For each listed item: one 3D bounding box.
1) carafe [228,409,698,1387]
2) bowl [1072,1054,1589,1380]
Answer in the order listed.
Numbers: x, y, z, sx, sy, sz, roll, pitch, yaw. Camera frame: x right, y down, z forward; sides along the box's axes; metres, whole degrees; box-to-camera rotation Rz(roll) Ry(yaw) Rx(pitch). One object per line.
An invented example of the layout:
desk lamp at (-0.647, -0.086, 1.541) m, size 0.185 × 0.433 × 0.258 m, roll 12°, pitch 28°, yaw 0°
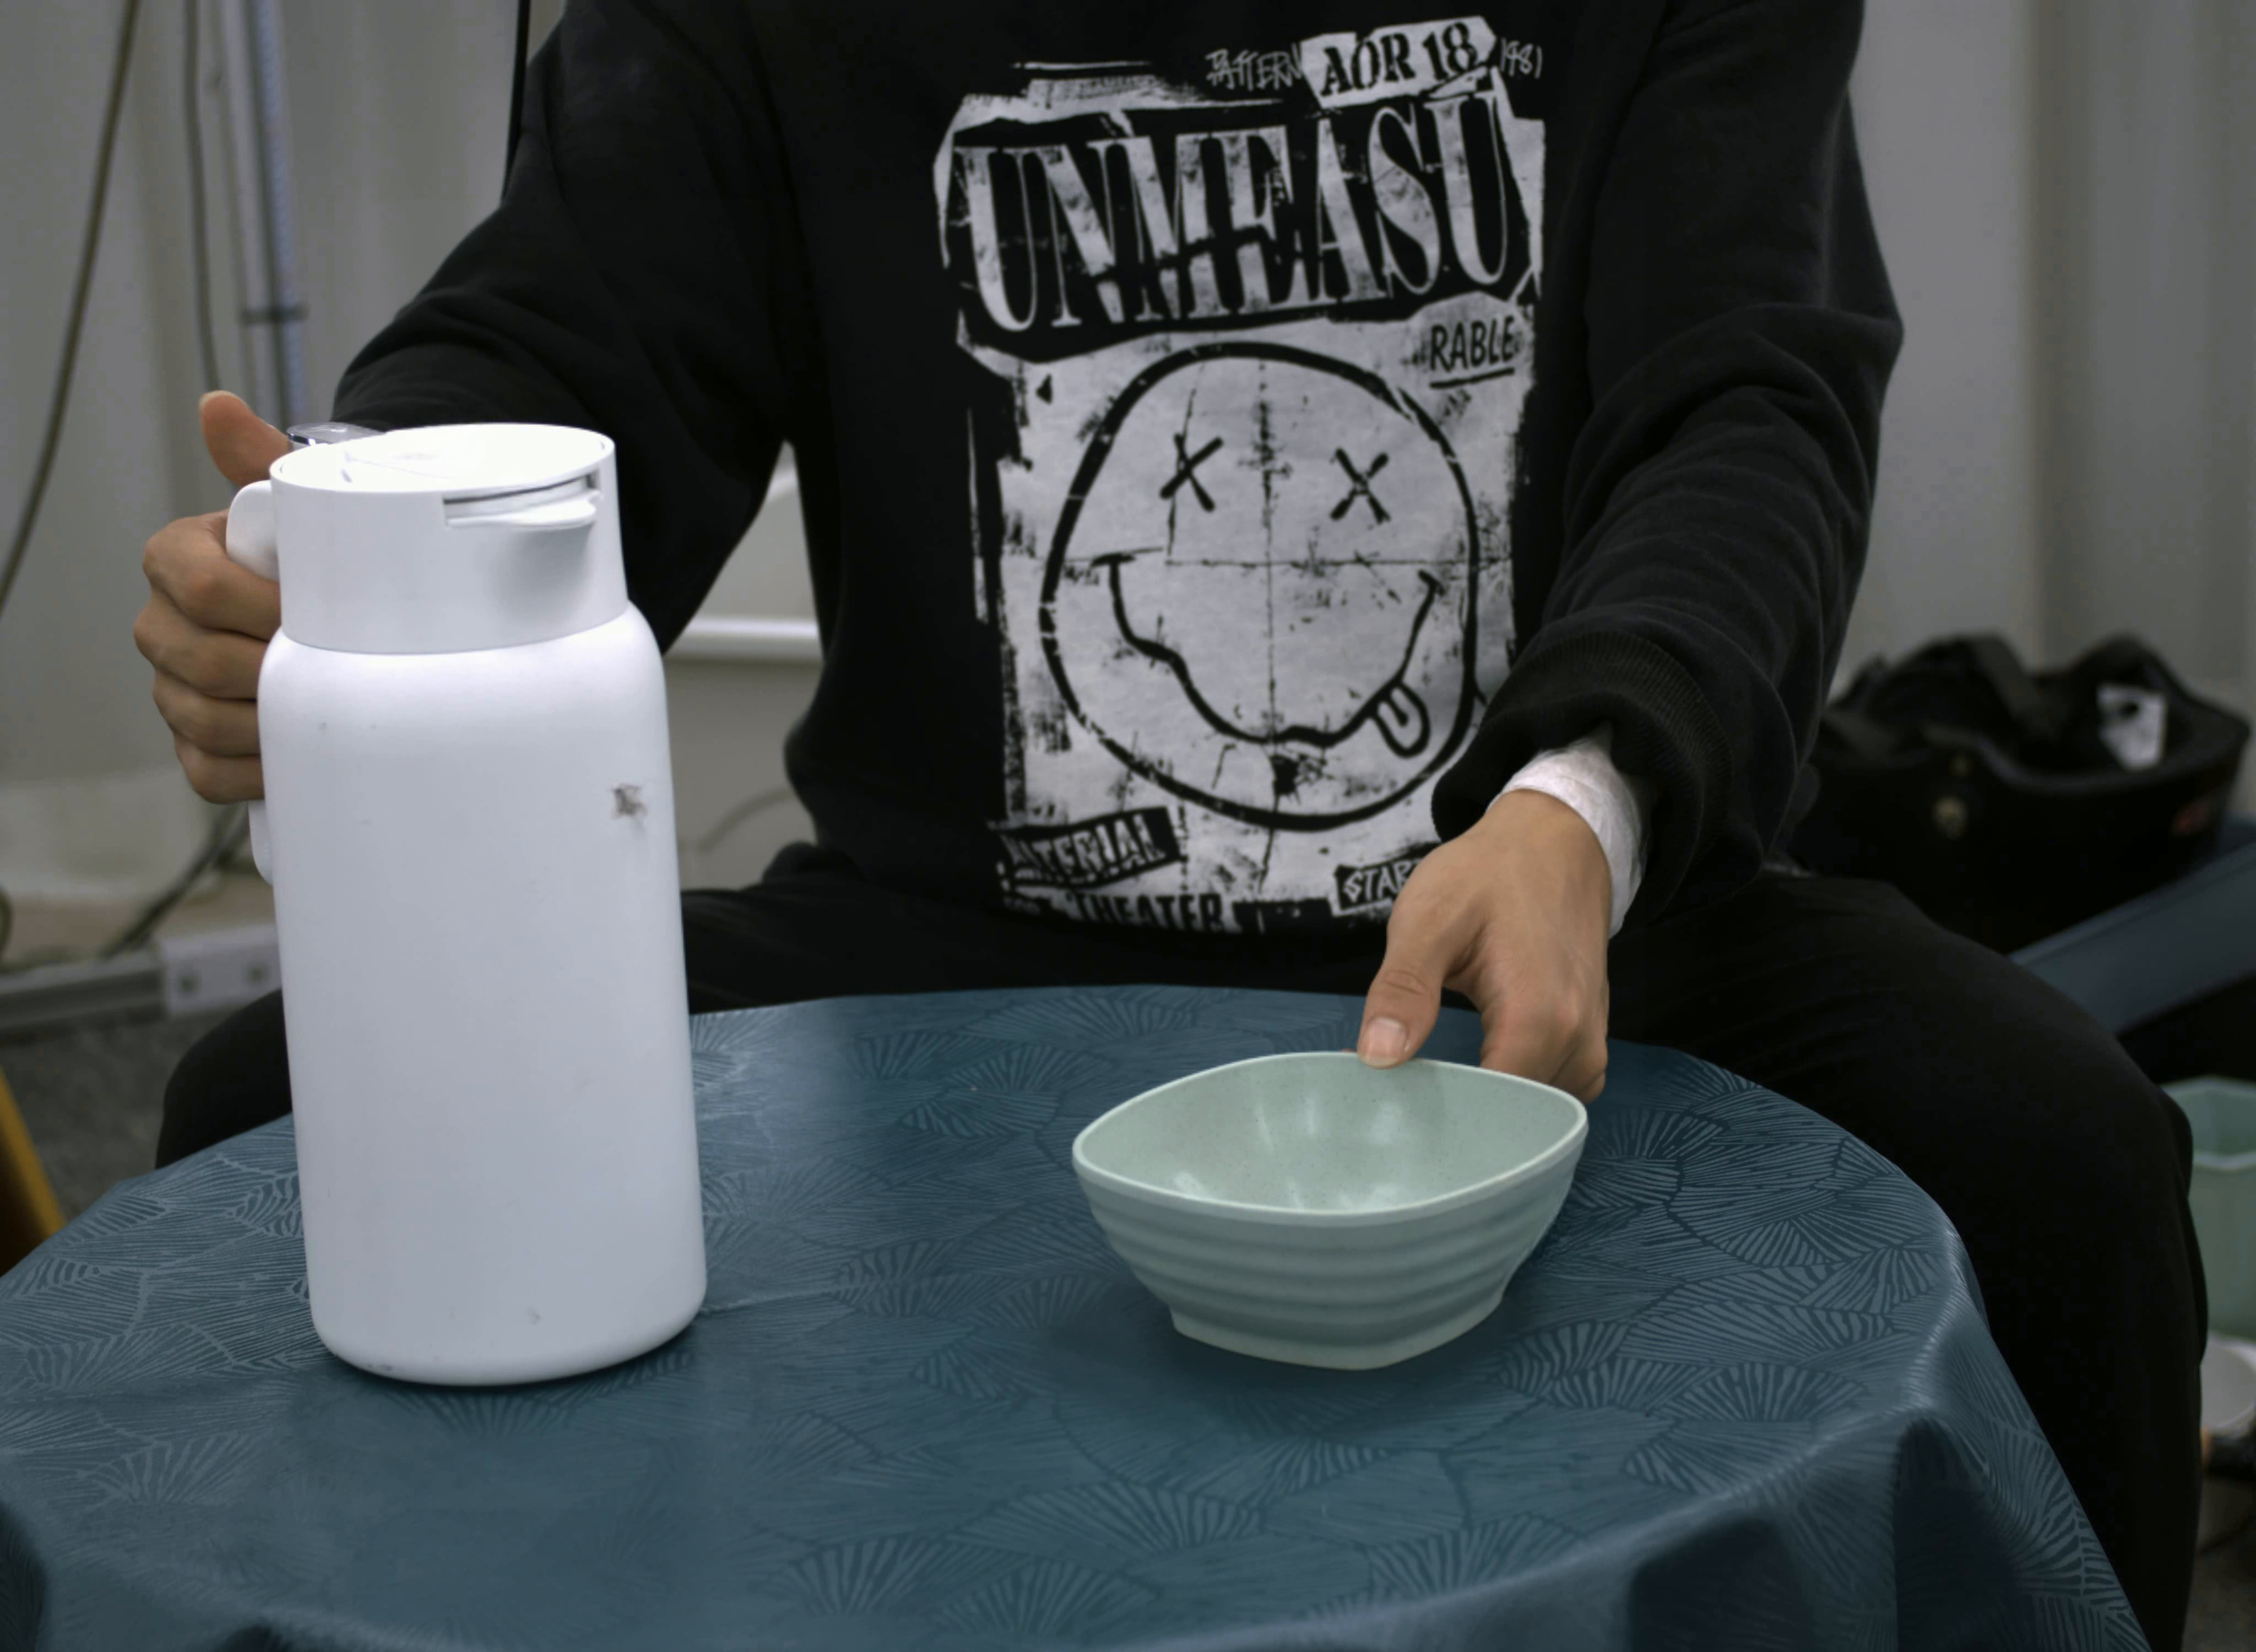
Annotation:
carafe at (-0.201, 0.018, 1.601) m, size 0.123 × 0.268 × 0.174 m, roll -16°, pitch 19°, yaw -38°
bowl at (0.060, 0.117, 1.590) m, size 0.151 × 0.058 × 0.152 m, roll -2°, pitch 15°, yaw 0°
